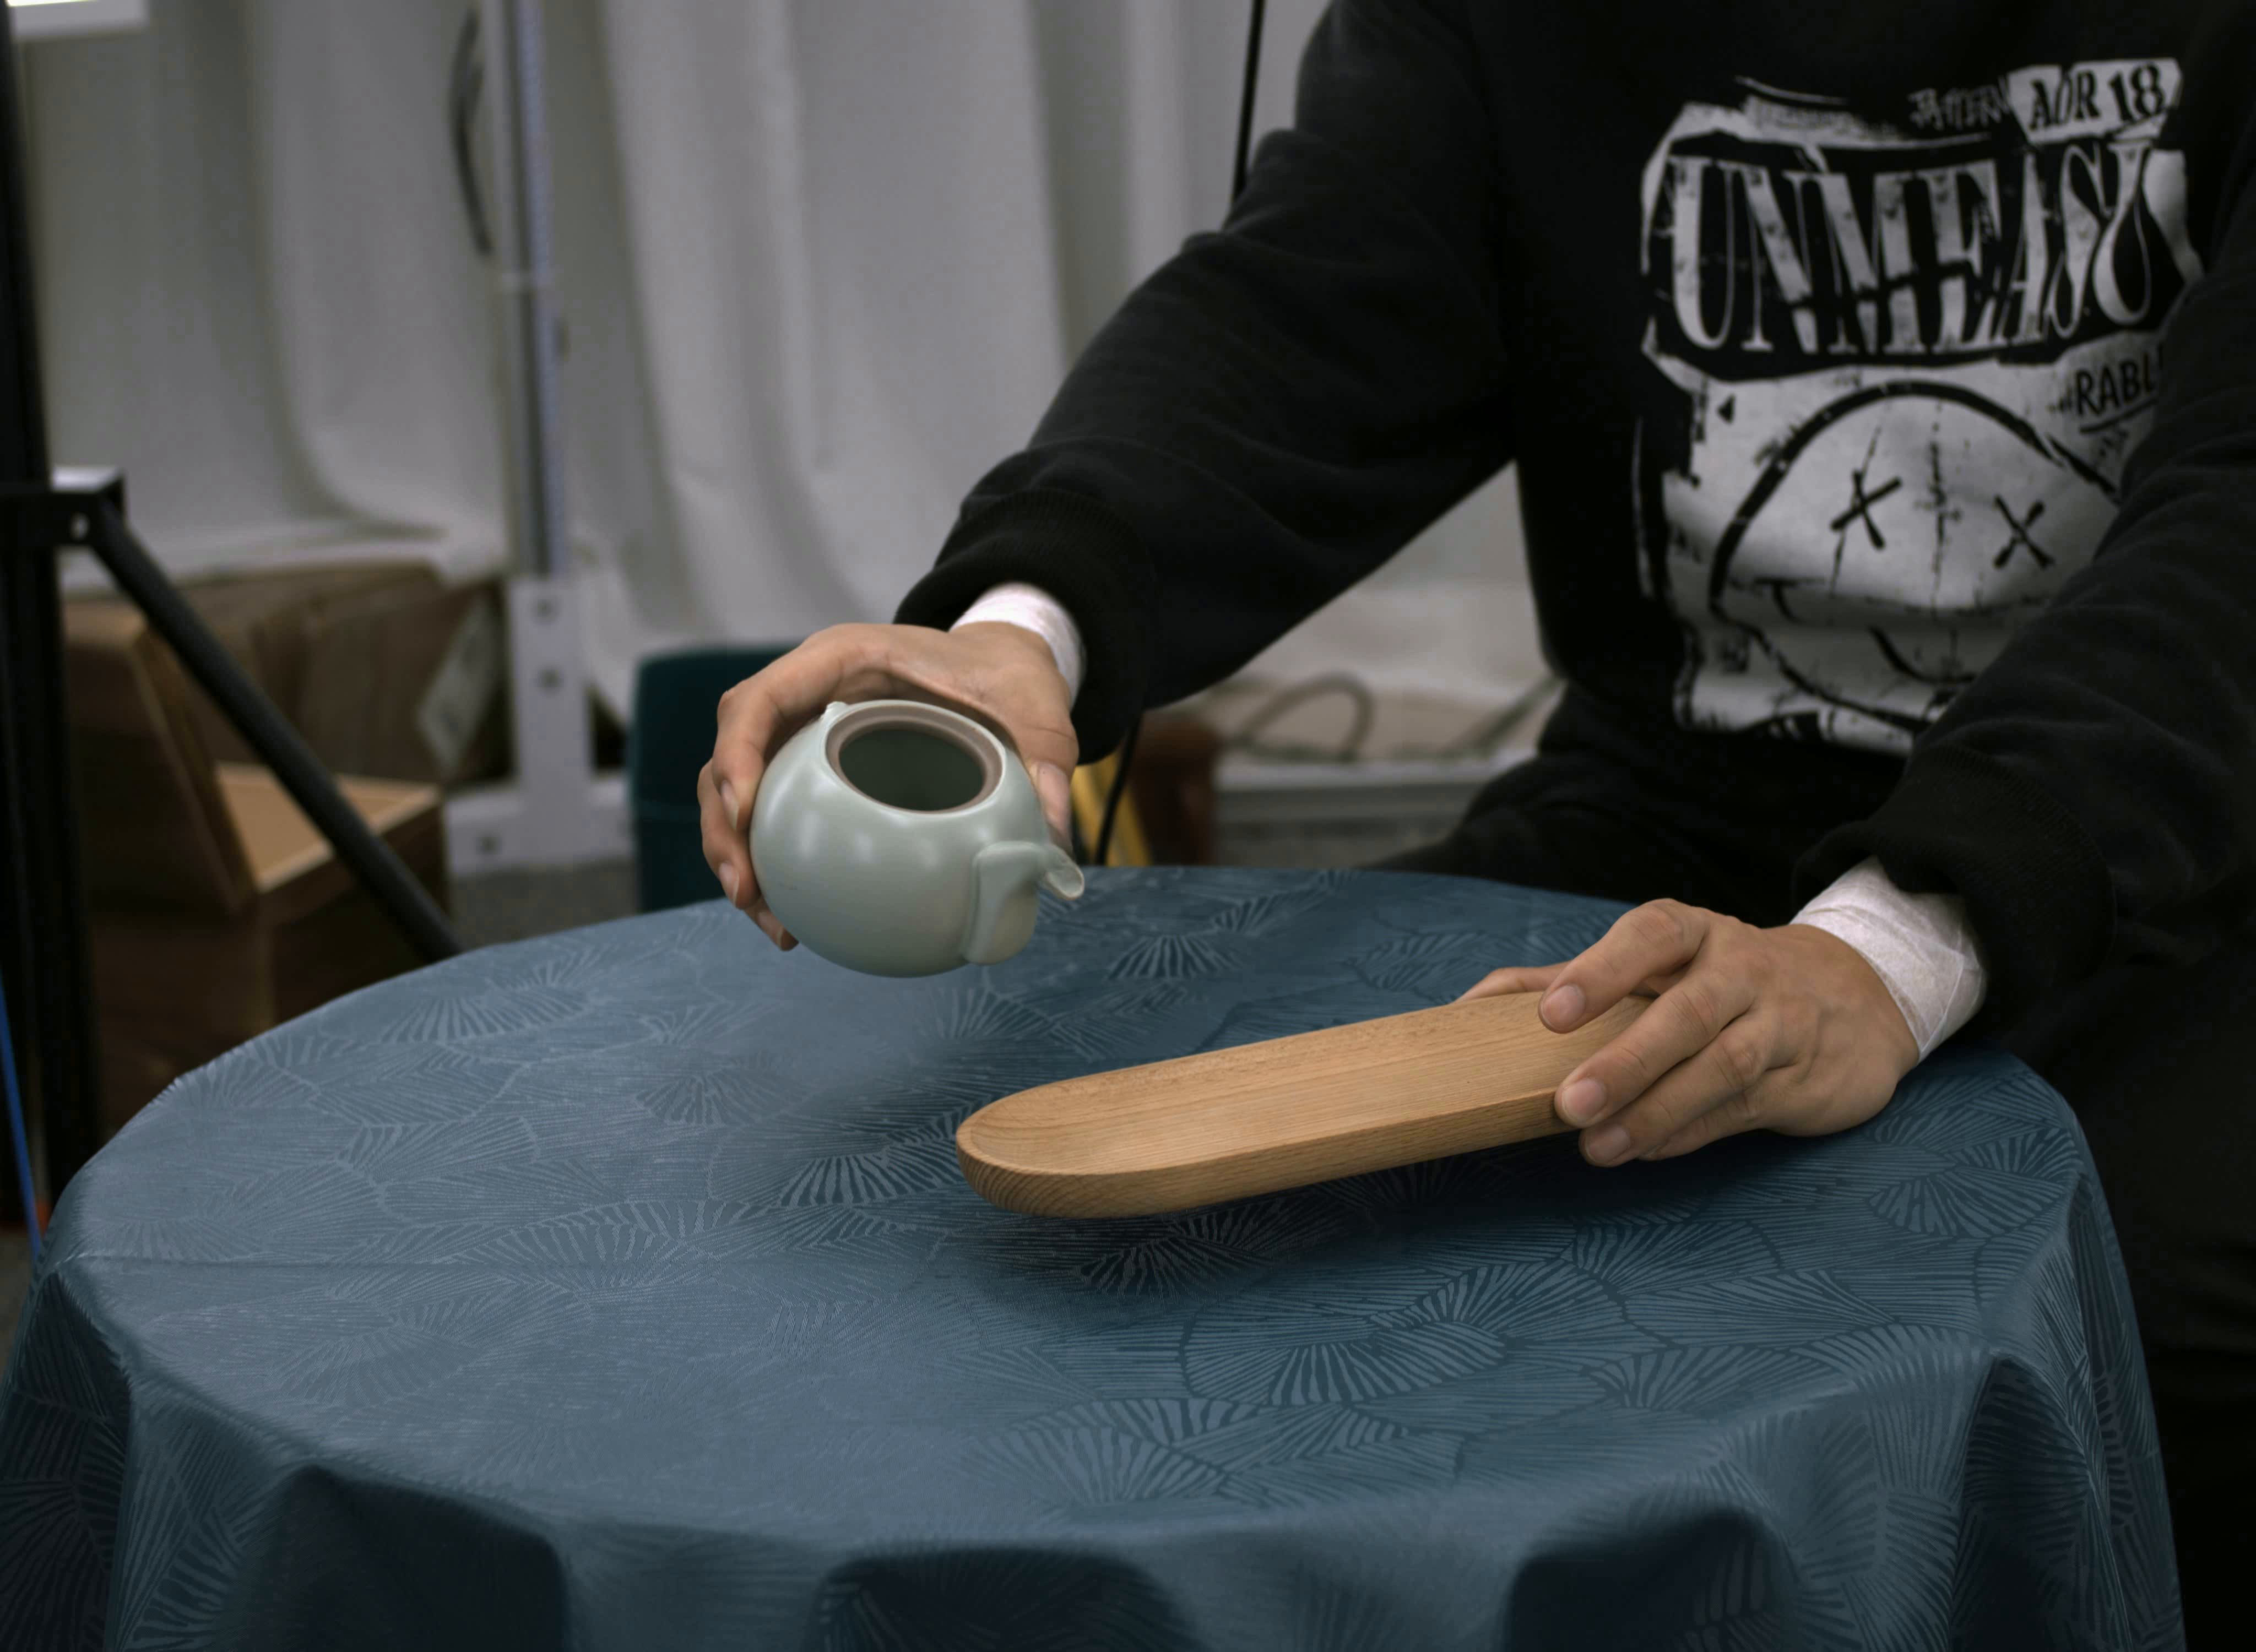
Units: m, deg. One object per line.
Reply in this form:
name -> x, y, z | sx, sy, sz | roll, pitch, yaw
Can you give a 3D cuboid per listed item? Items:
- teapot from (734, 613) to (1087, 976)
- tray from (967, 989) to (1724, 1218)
teapot -> -0.069, 0.002, 1.583 | 0.086, 0.075, 0.147 | -21, 49, -38
tray -> 0.065, 0.080, 1.534 | 0.227, 0.020, 0.103 | -9, 15, -20
